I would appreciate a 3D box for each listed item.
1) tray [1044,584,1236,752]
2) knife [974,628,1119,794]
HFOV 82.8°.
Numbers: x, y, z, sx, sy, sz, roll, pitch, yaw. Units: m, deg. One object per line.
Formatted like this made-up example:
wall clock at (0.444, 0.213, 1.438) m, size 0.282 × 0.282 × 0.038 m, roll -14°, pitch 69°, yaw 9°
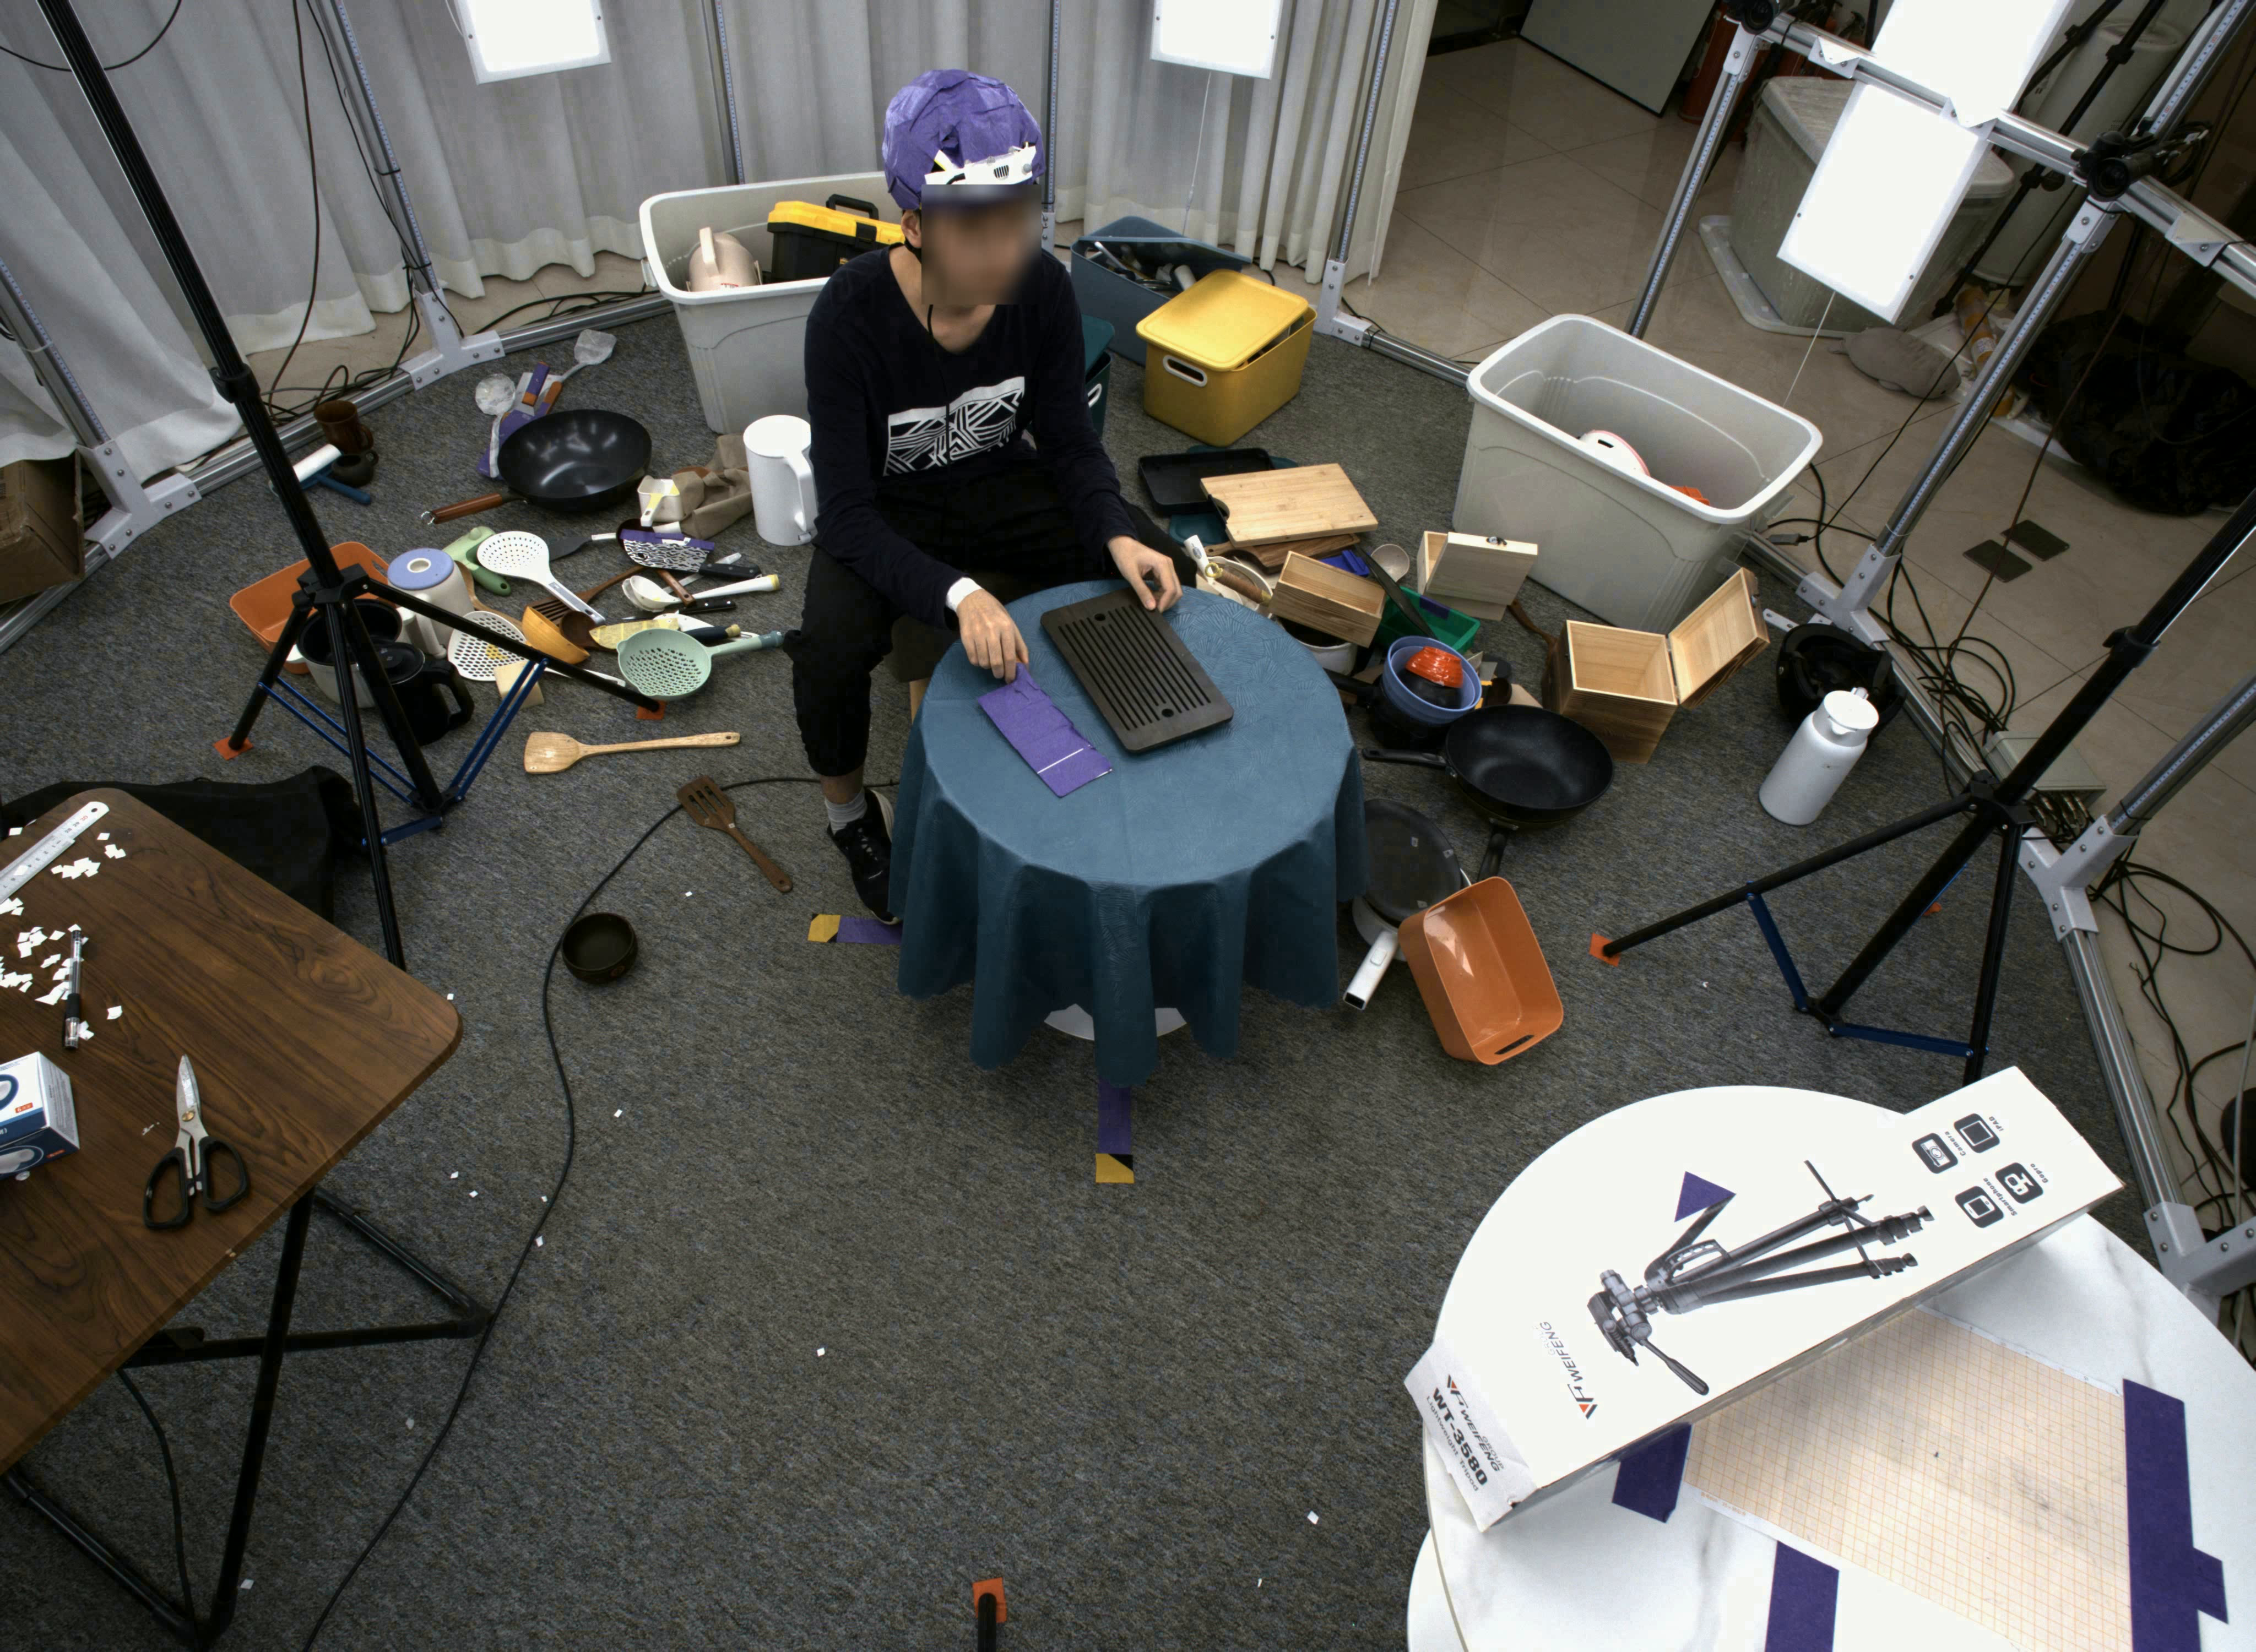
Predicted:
tray at (0.013, -0.232, 1.854) m, size 0.170 × 0.018 × 0.313 m, roll -20°, pitch 53°, yaw -17°
knife at (-0.143, -0.164, 1.782) m, size 0.104 × 0.031 × 0.321 m, roll -27°, pitch 56°, yaw -25°
